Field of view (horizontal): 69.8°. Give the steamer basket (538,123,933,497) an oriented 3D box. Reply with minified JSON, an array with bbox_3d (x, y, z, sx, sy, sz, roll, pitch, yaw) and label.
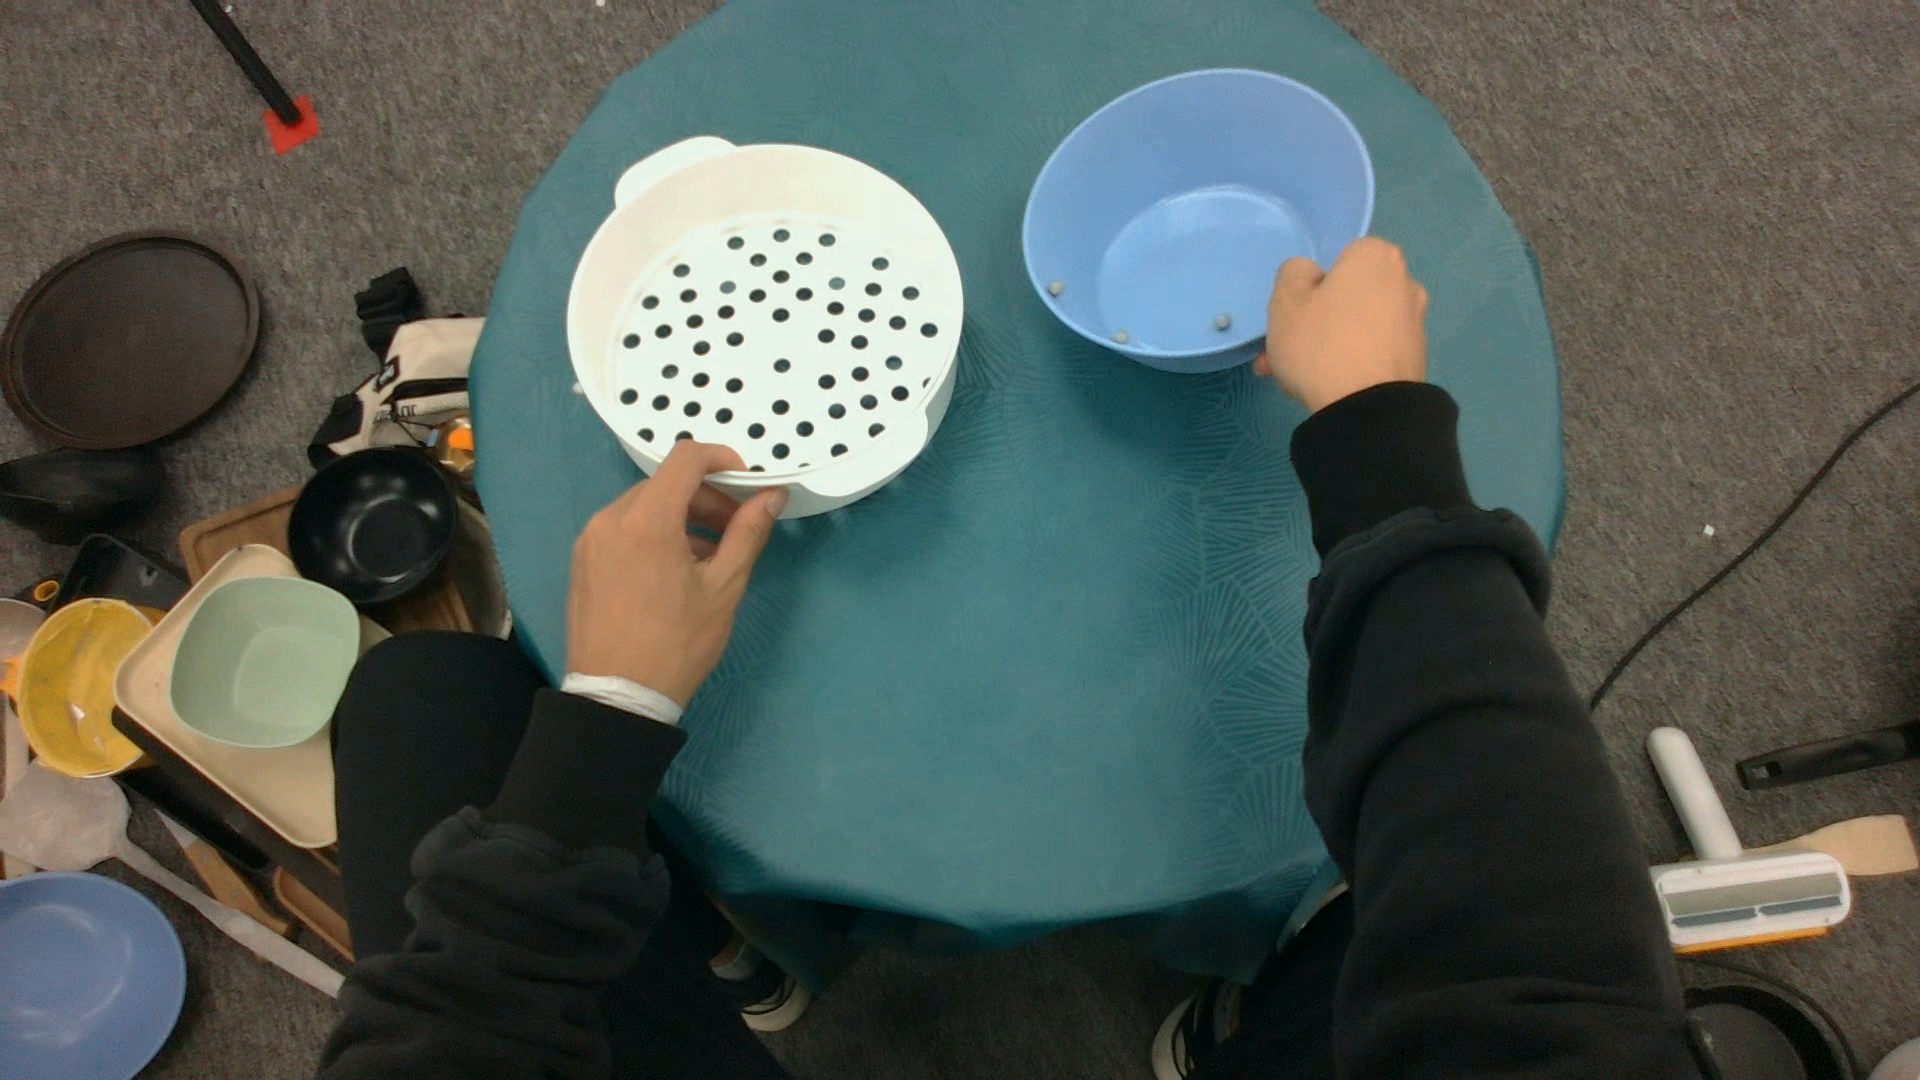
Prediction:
[{"bbox_3d":[-0.114,-0.119,0.727,0.202,0.069,0.231,-31,68,-13],"label":"steamer basket"}]

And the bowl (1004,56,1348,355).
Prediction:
[{"bbox_3d":[0.116,-0.165,0.729,0.176,0.070,0.176,-7,64,14],"label":"bowl"}]
